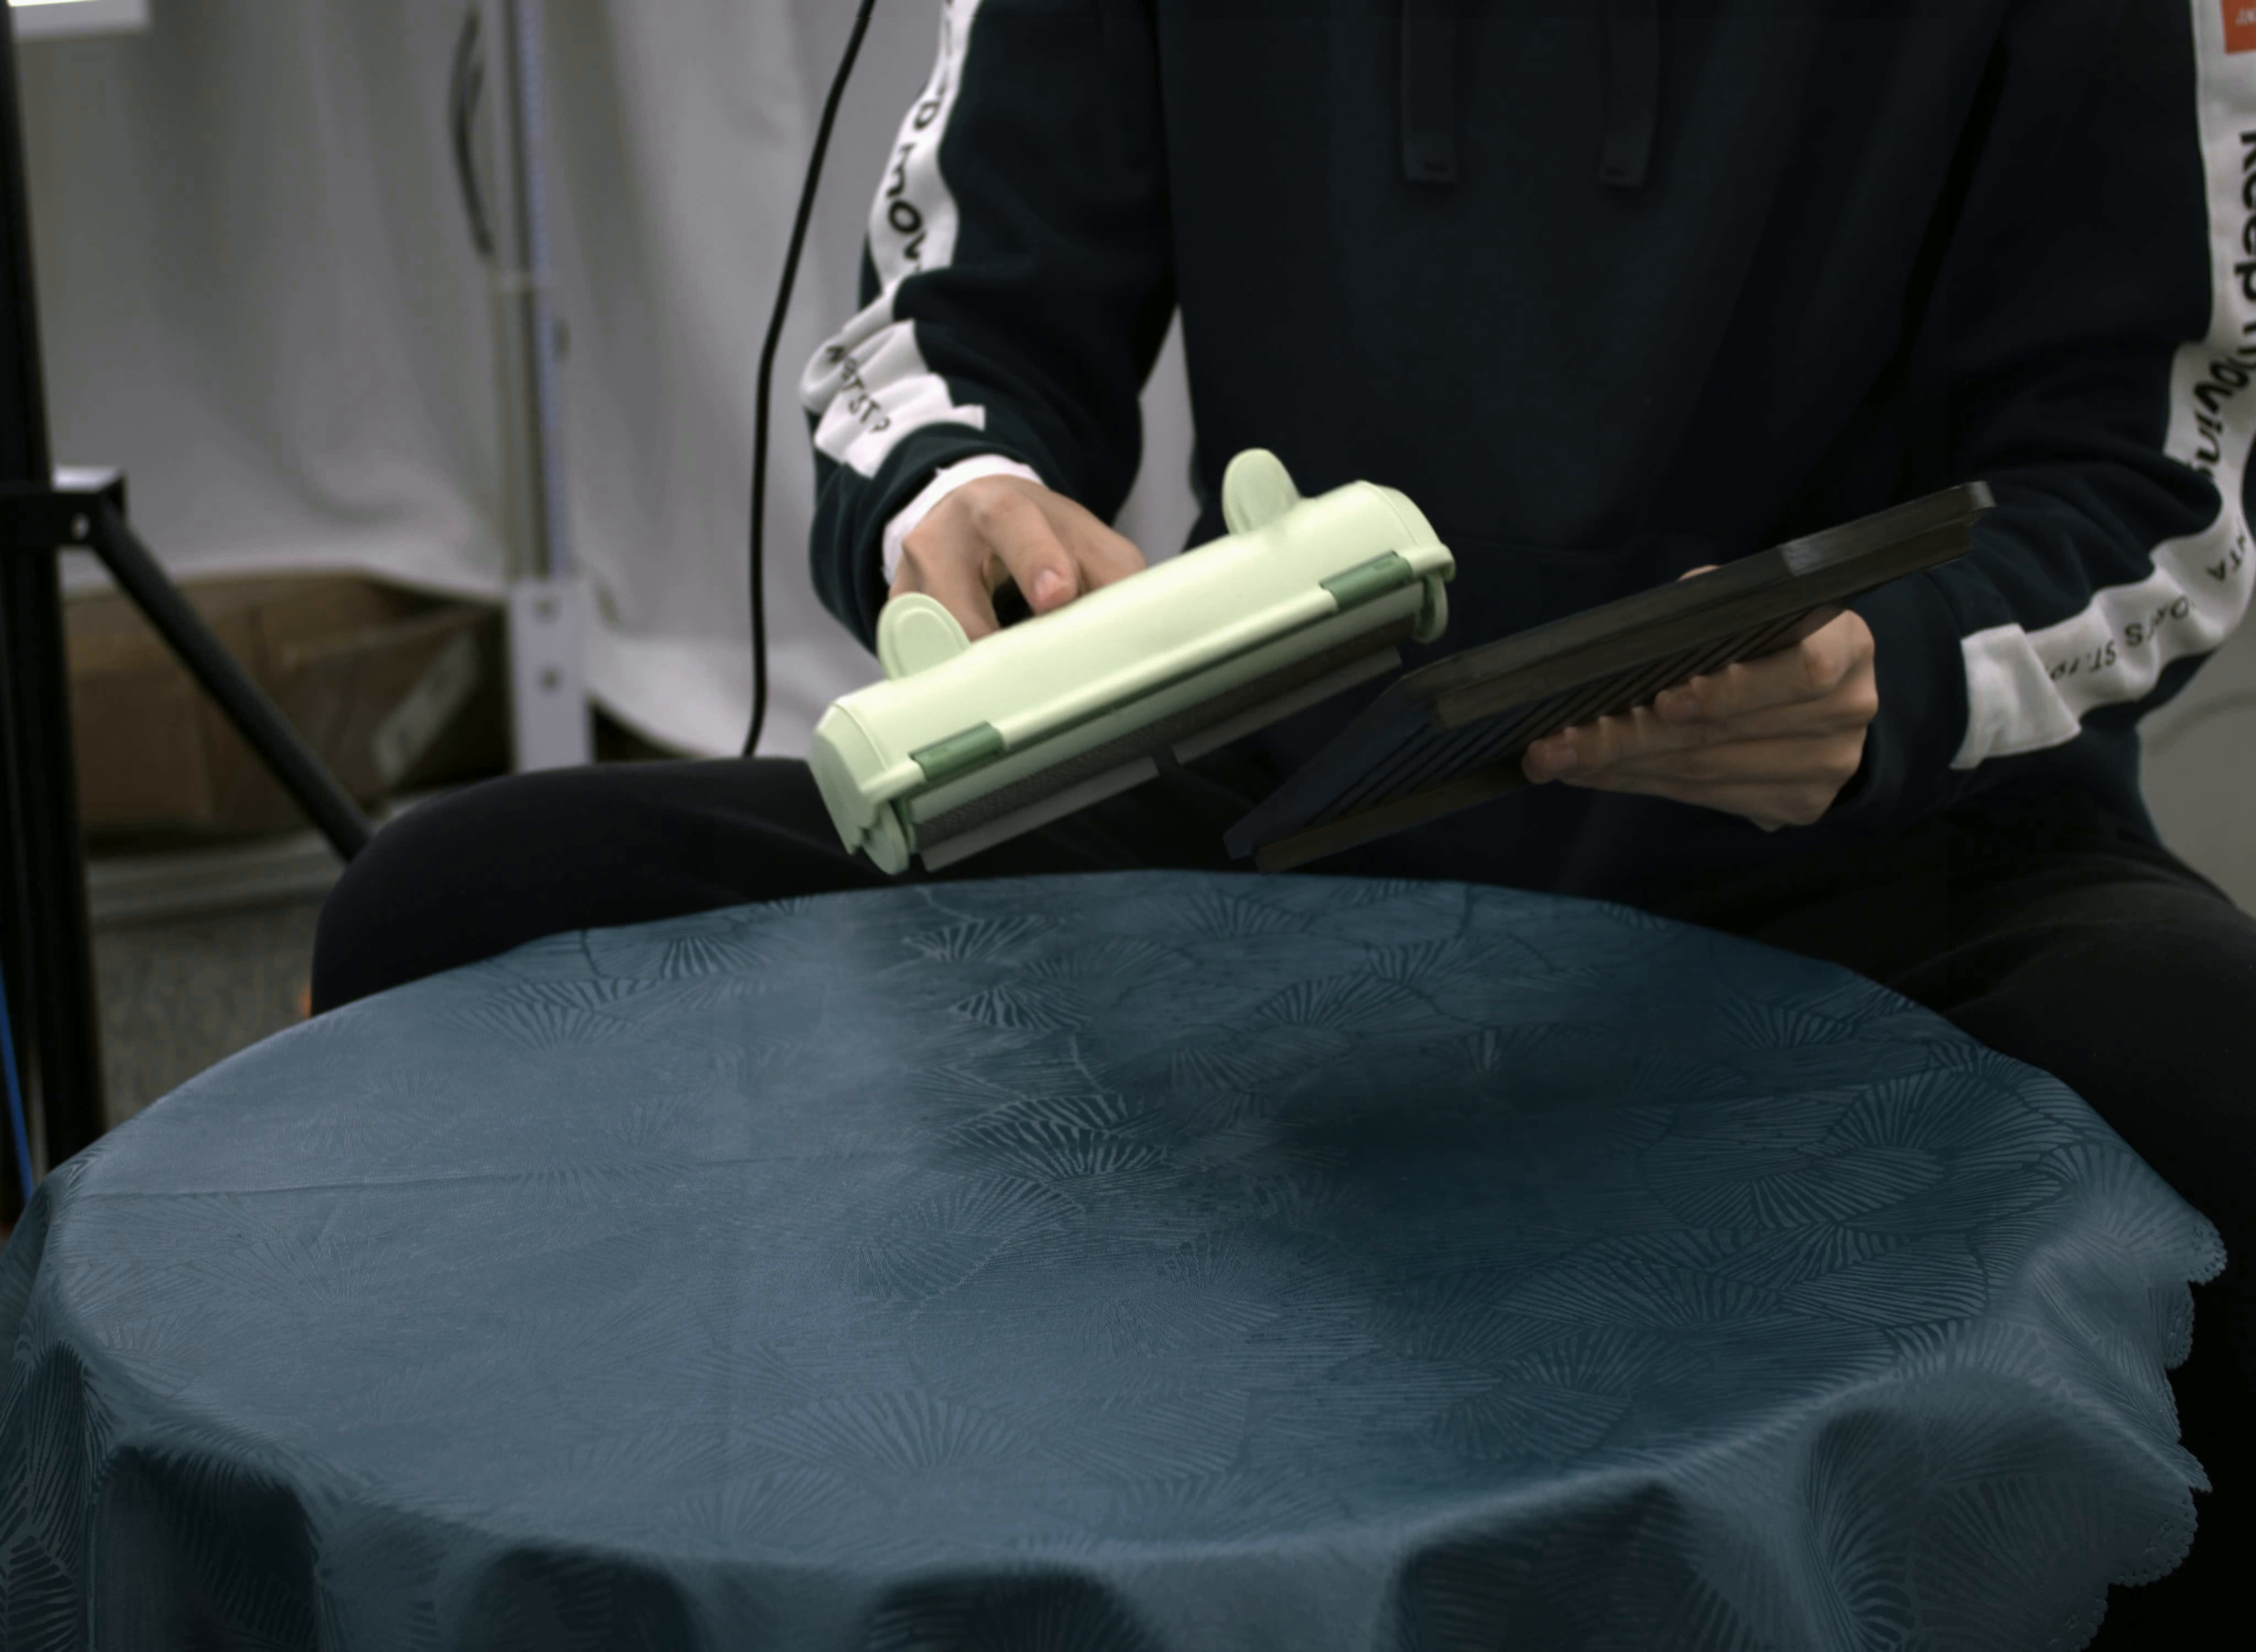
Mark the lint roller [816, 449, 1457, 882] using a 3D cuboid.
[{"bbox_3d":[-0.020,-0.063,1.631,0.196,0.081,0.187,-24,22,-15],"label":"lint roller"}]

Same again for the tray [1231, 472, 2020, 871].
[{"bbox_3d":[0.134,-0.037,1.516,0.168,0.019,0.307,-18,-6,-11],"label":"tray"}]
